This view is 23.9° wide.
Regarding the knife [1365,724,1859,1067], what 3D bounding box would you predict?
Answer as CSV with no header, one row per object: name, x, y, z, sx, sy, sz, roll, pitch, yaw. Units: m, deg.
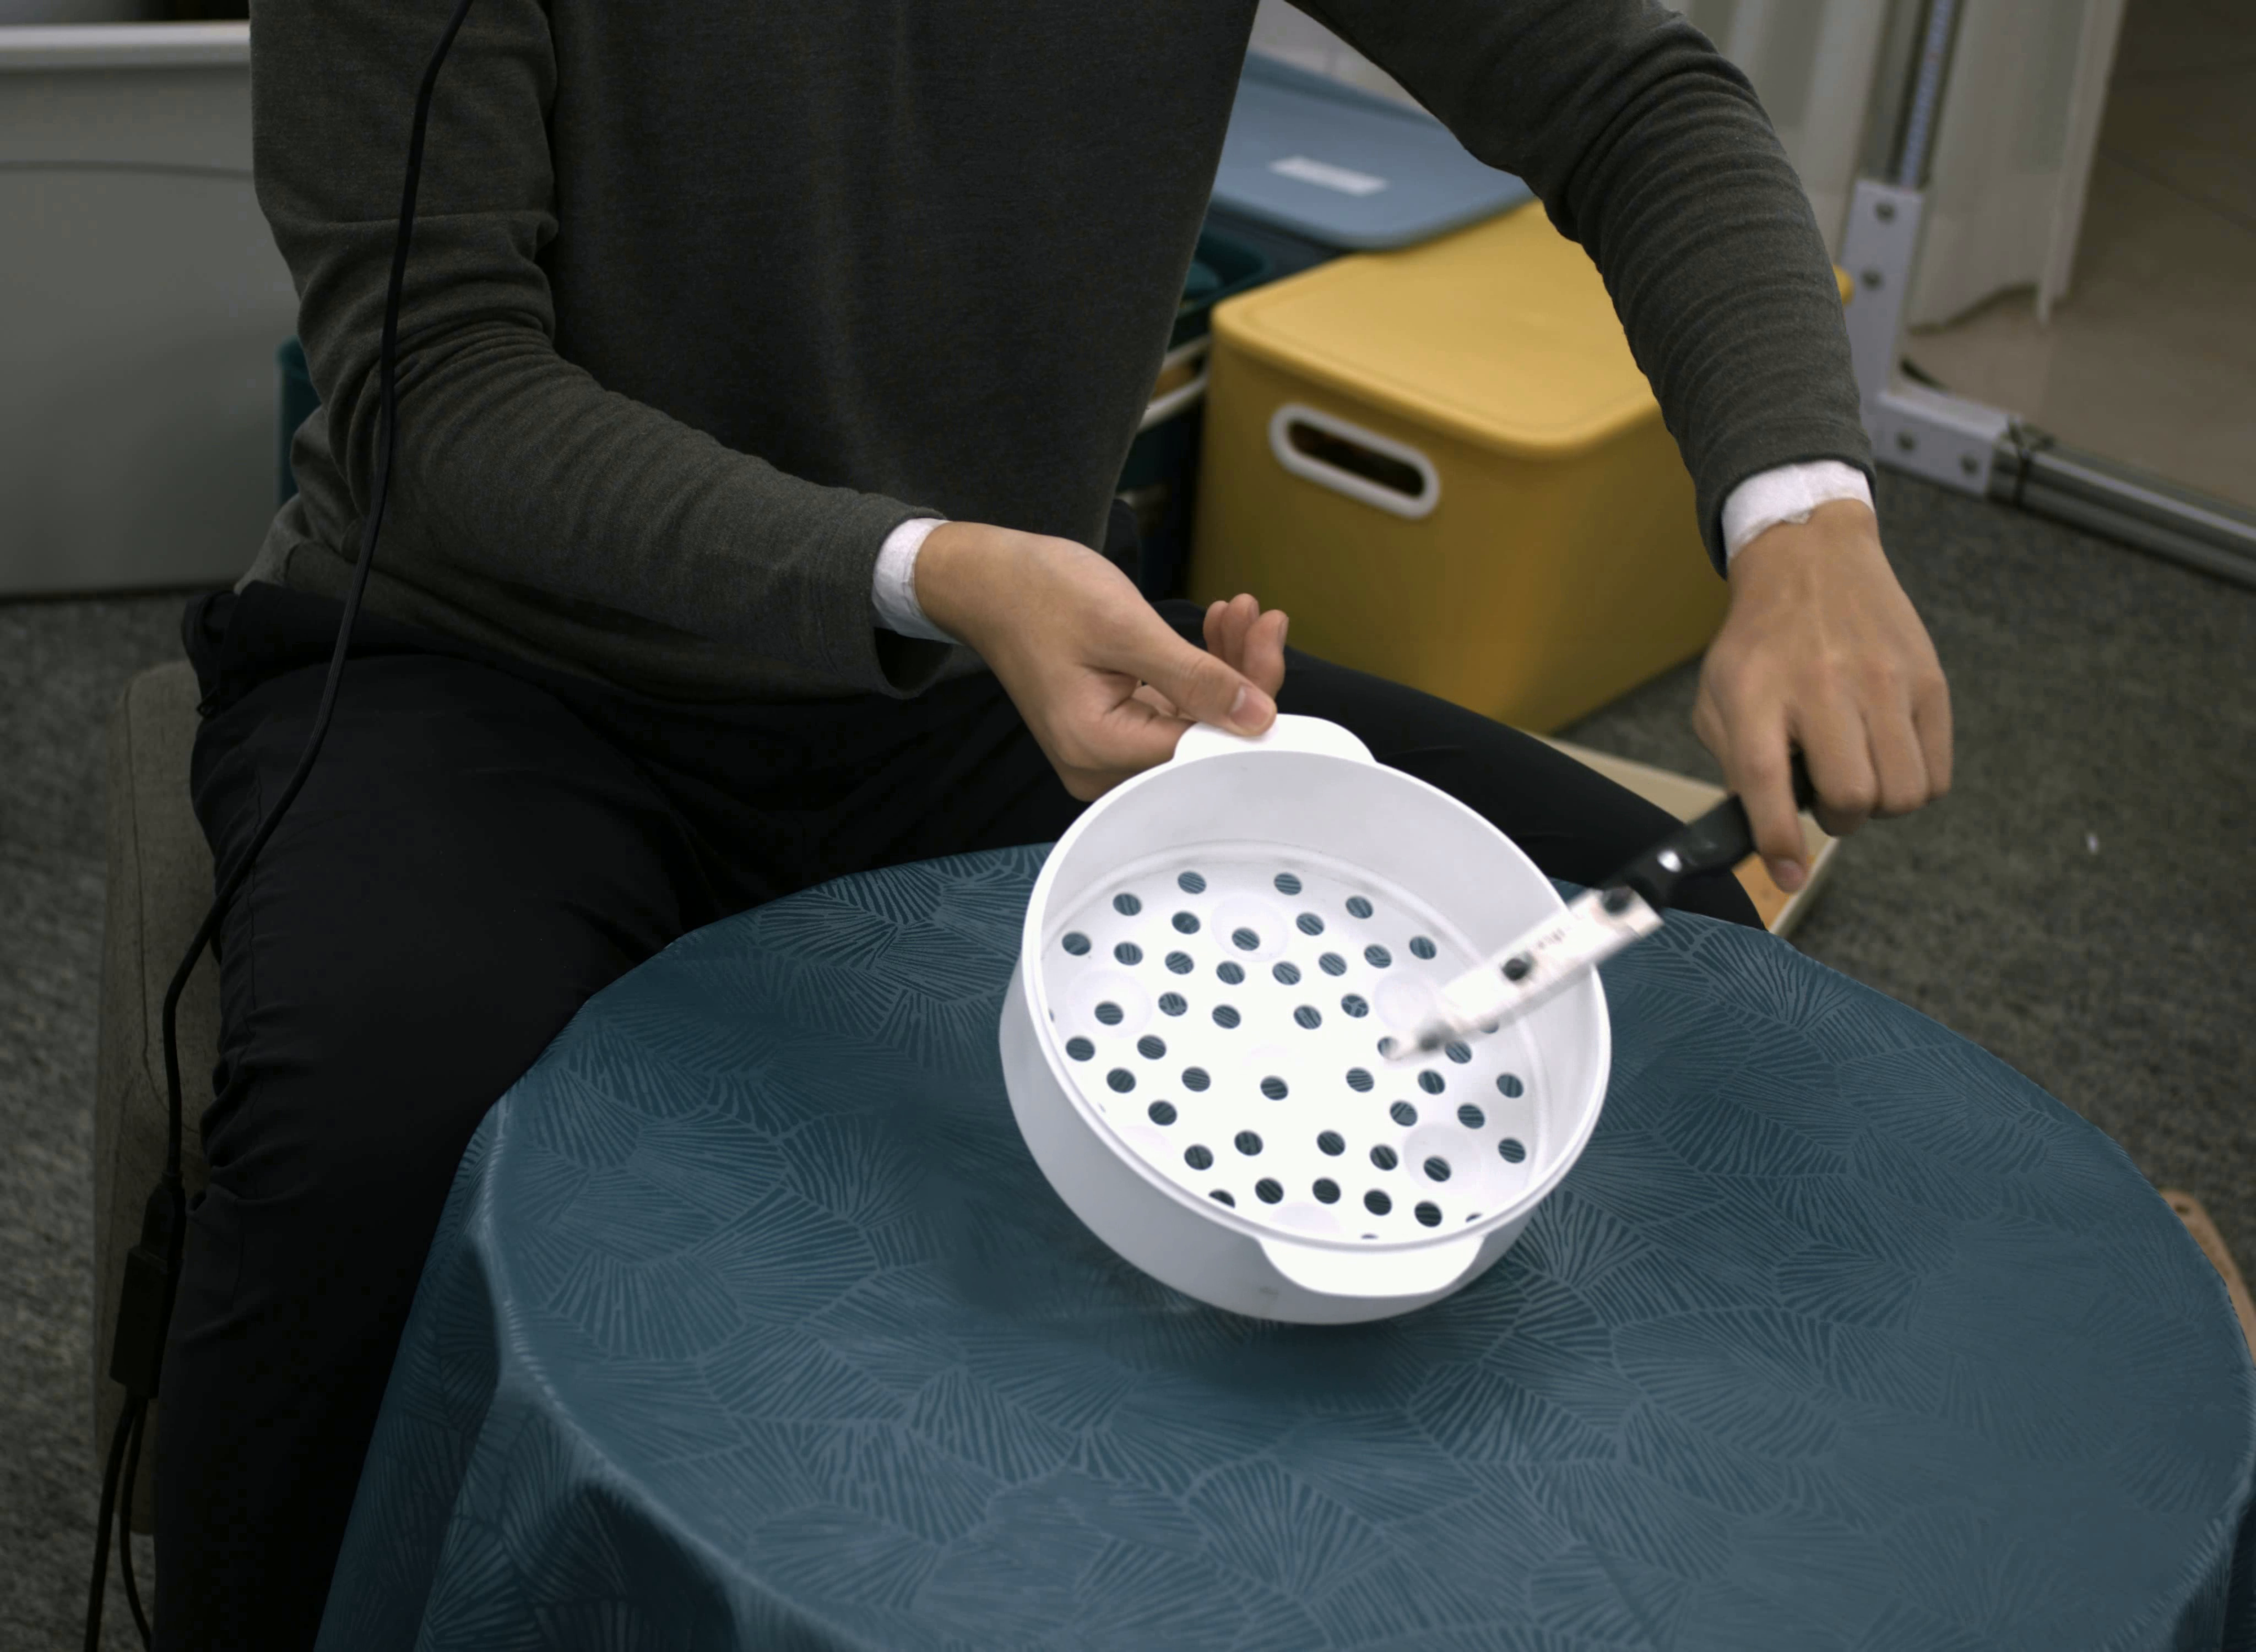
knife,0.162,0.022,1.793,0.237,0.016,0.024,-32,67,-31

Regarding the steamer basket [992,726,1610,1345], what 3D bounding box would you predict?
steamer basket,0.056,0.075,1.769,0.200,0.069,0.233,2,53,-16
